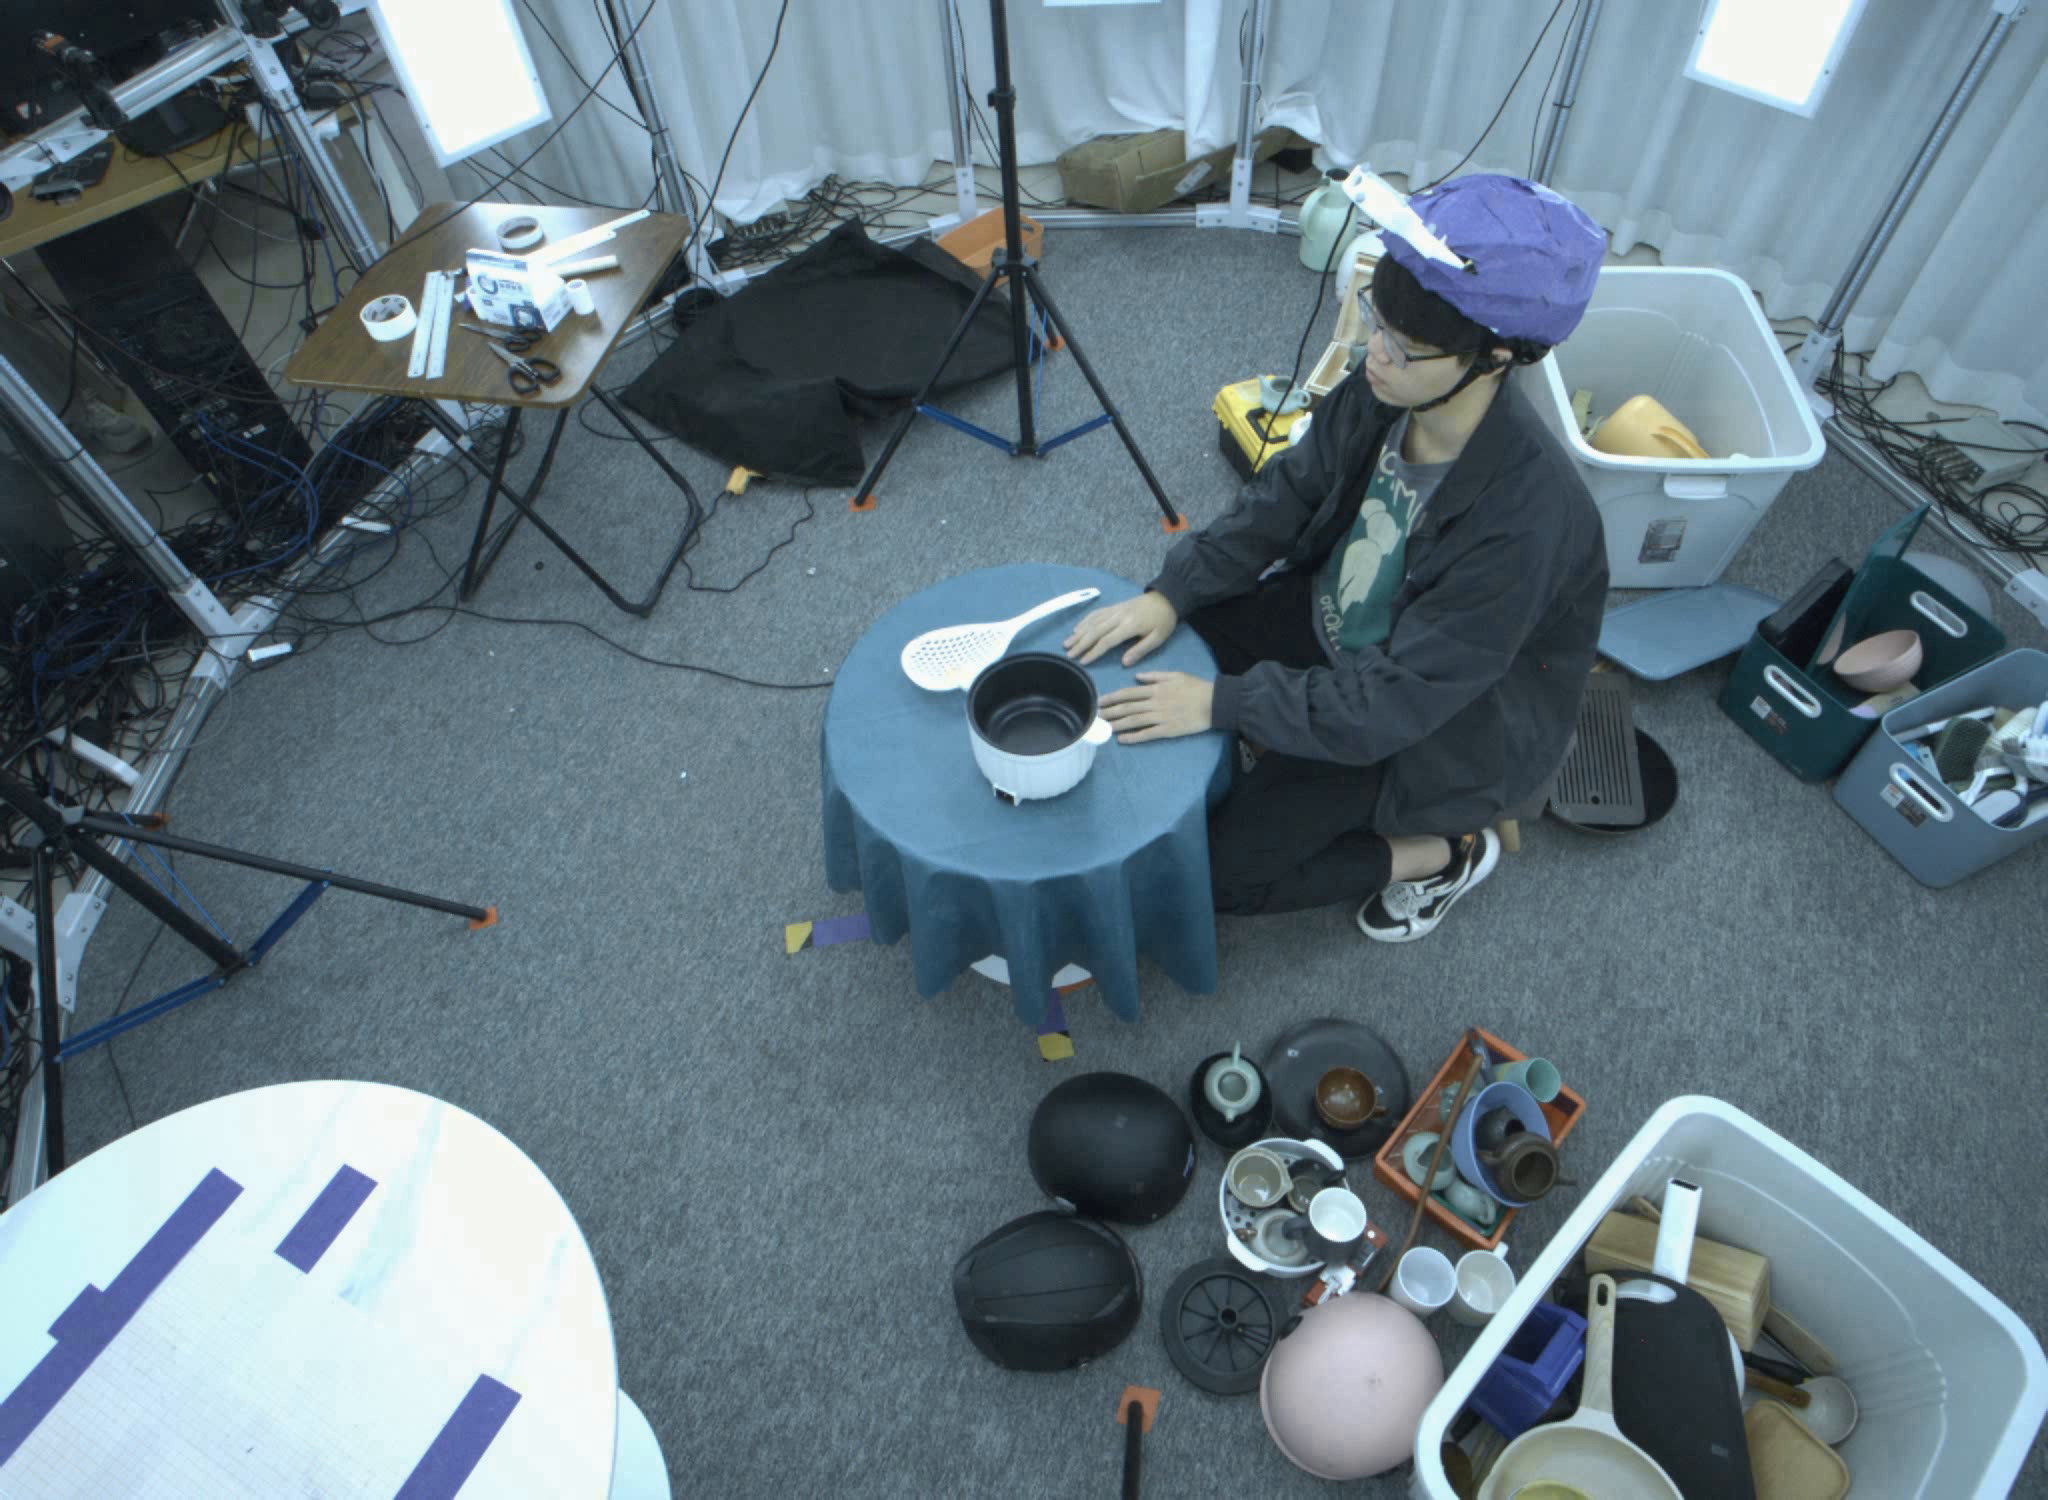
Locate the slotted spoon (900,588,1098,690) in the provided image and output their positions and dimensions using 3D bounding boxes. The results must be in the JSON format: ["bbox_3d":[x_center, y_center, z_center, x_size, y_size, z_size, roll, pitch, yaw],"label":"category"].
[{"bbox_3d":[-0.026,-0.181,1.883,0.350,0.051,0.134,-31,51,-18],"label":"slotted spoon"}]

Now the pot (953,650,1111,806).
[{"bbox_3d":[0.015,-0.032,1.716,0.237,0.144,0.191,24,62,17],"label":"pot"}]
